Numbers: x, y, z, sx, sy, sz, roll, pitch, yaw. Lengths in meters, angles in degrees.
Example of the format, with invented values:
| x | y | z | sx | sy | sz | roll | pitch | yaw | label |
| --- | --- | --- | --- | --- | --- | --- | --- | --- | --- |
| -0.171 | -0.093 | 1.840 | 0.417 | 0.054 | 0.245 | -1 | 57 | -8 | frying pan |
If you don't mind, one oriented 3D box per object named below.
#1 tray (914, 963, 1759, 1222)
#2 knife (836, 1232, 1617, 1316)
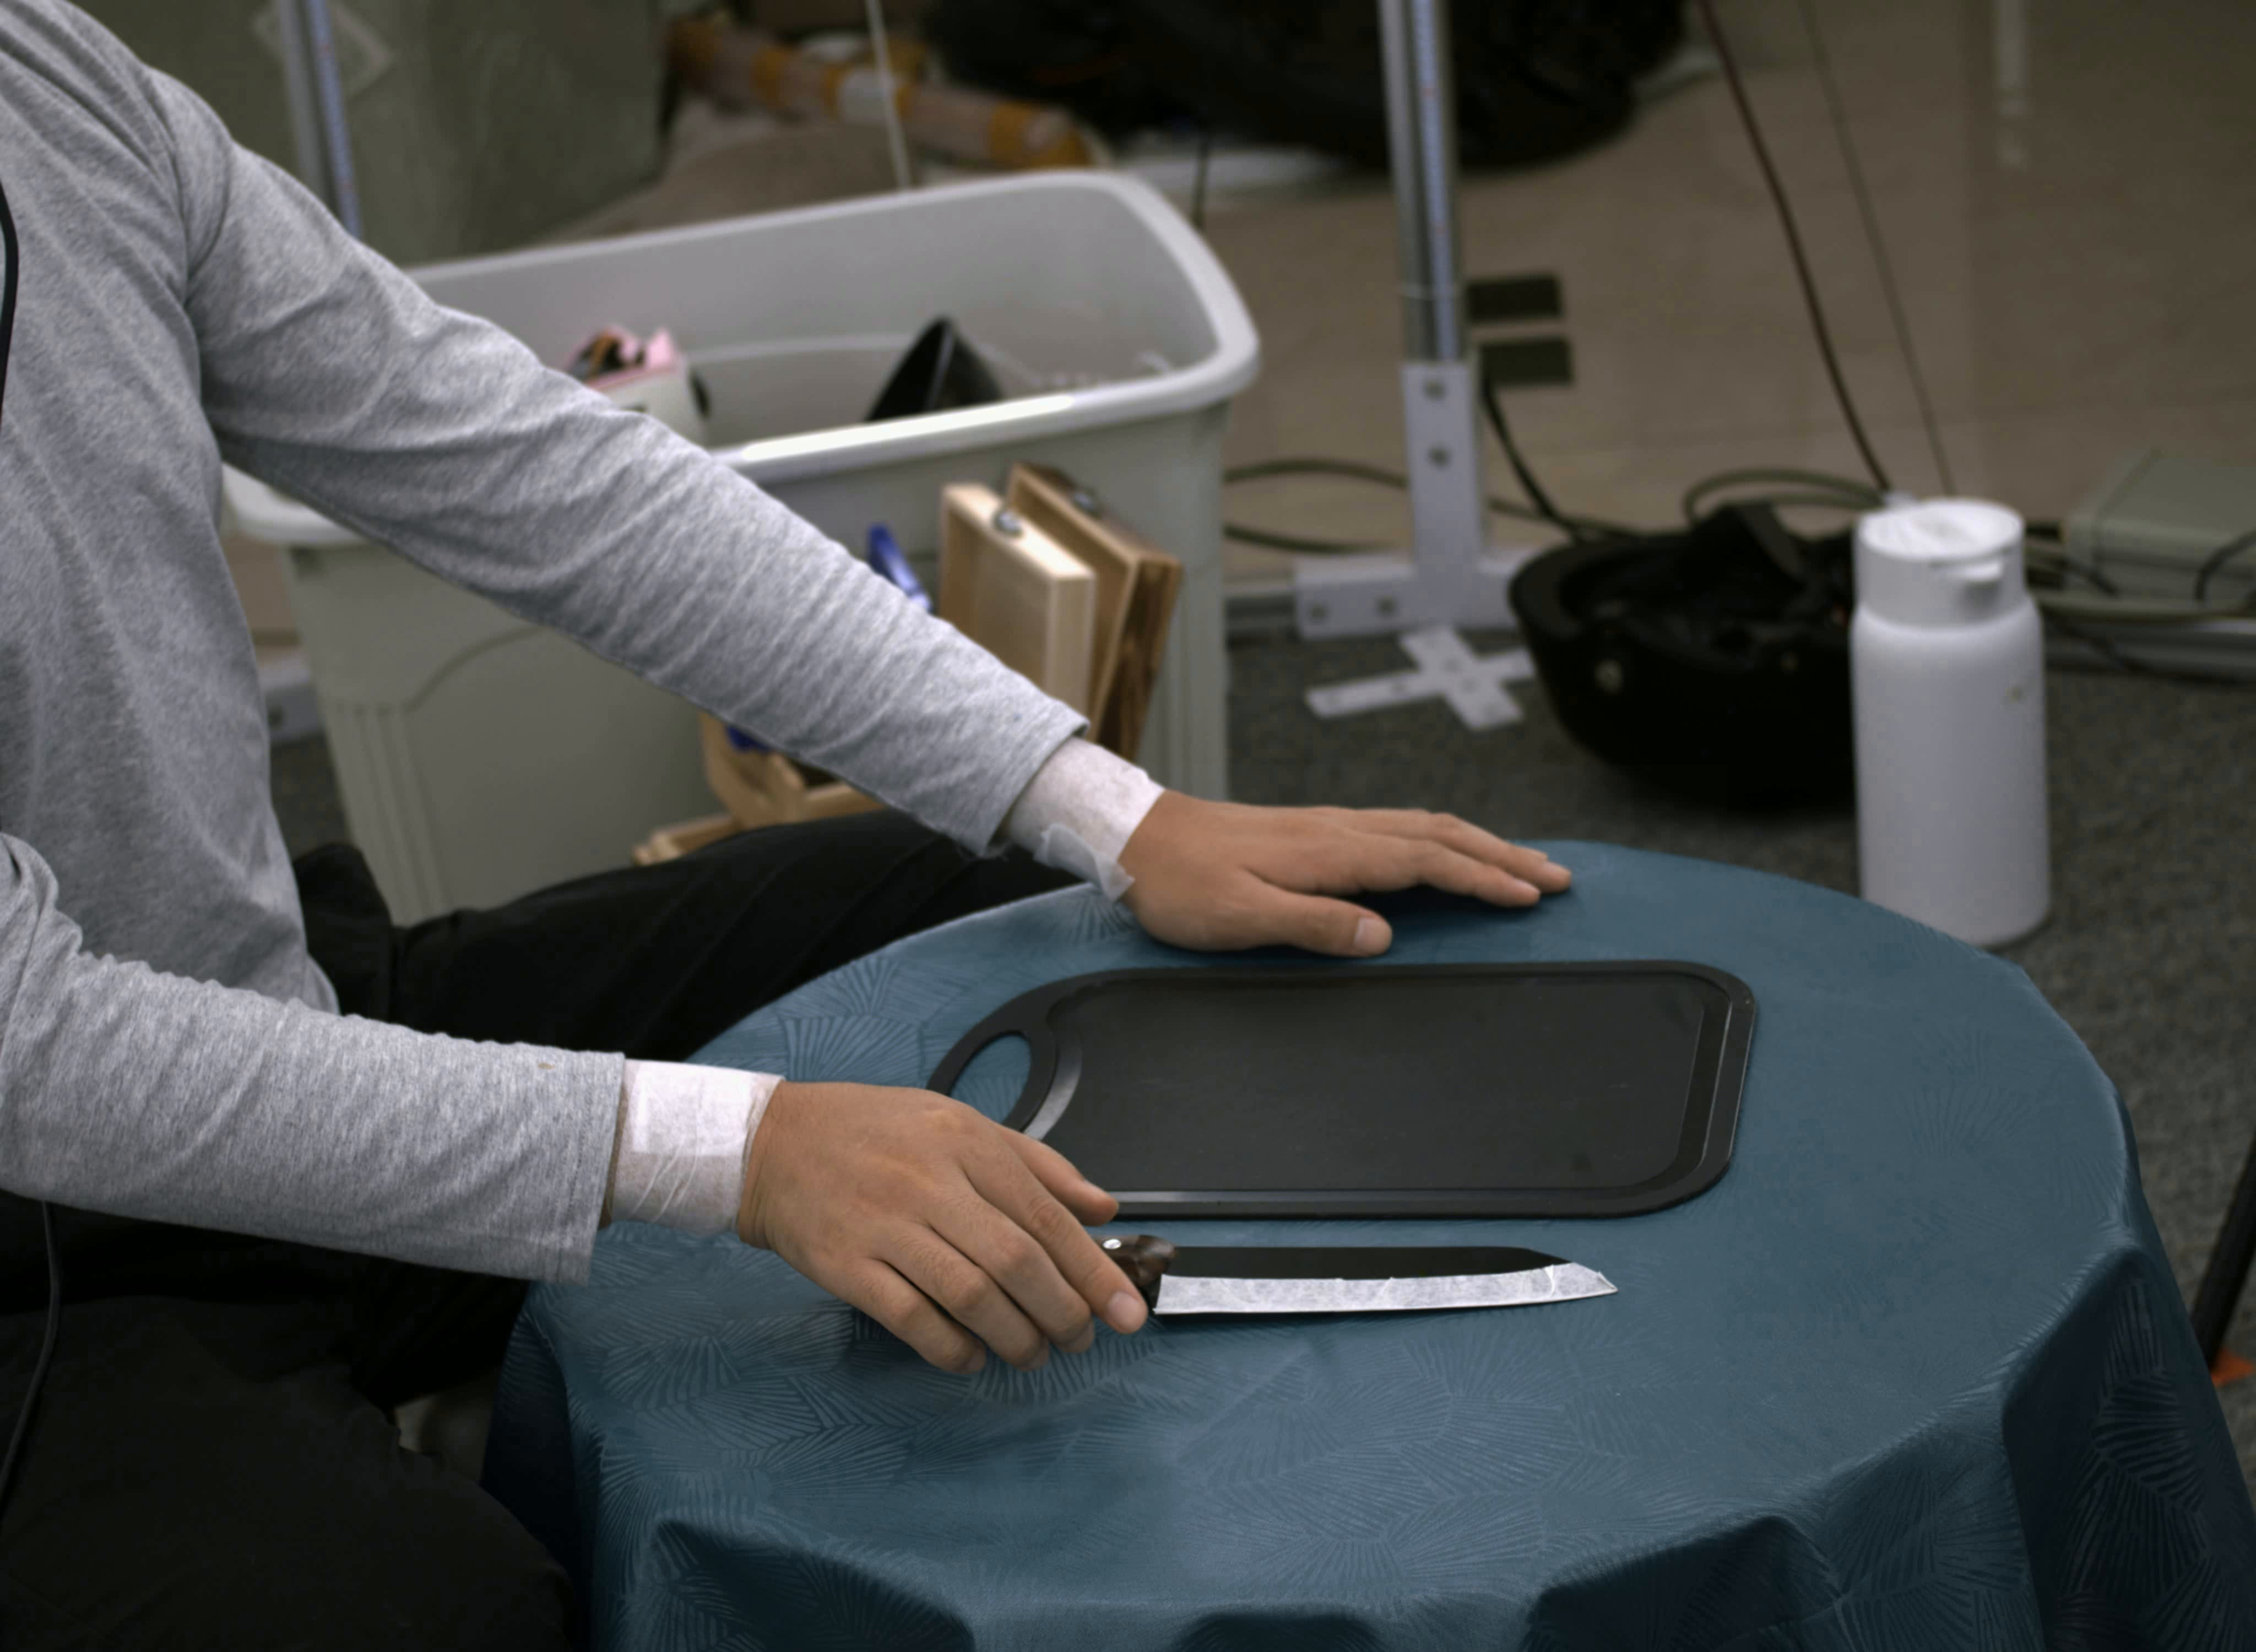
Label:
| x | y | z | sx | sy | sz | roll | pitch | yaw | label |
| --- | --- | --- | --- | --- | --- | --- | --- | --- | --- |
| 0.078 | 0.100 | 2.209 | 0.325 | 0.010 | 0.208 | -1 | 25 | 13 | tray |
| 0.034 | 0.165 | 2.070 | 0.288 | 0.020 | 0.049 | 0 | 30 | 8 | knife |
